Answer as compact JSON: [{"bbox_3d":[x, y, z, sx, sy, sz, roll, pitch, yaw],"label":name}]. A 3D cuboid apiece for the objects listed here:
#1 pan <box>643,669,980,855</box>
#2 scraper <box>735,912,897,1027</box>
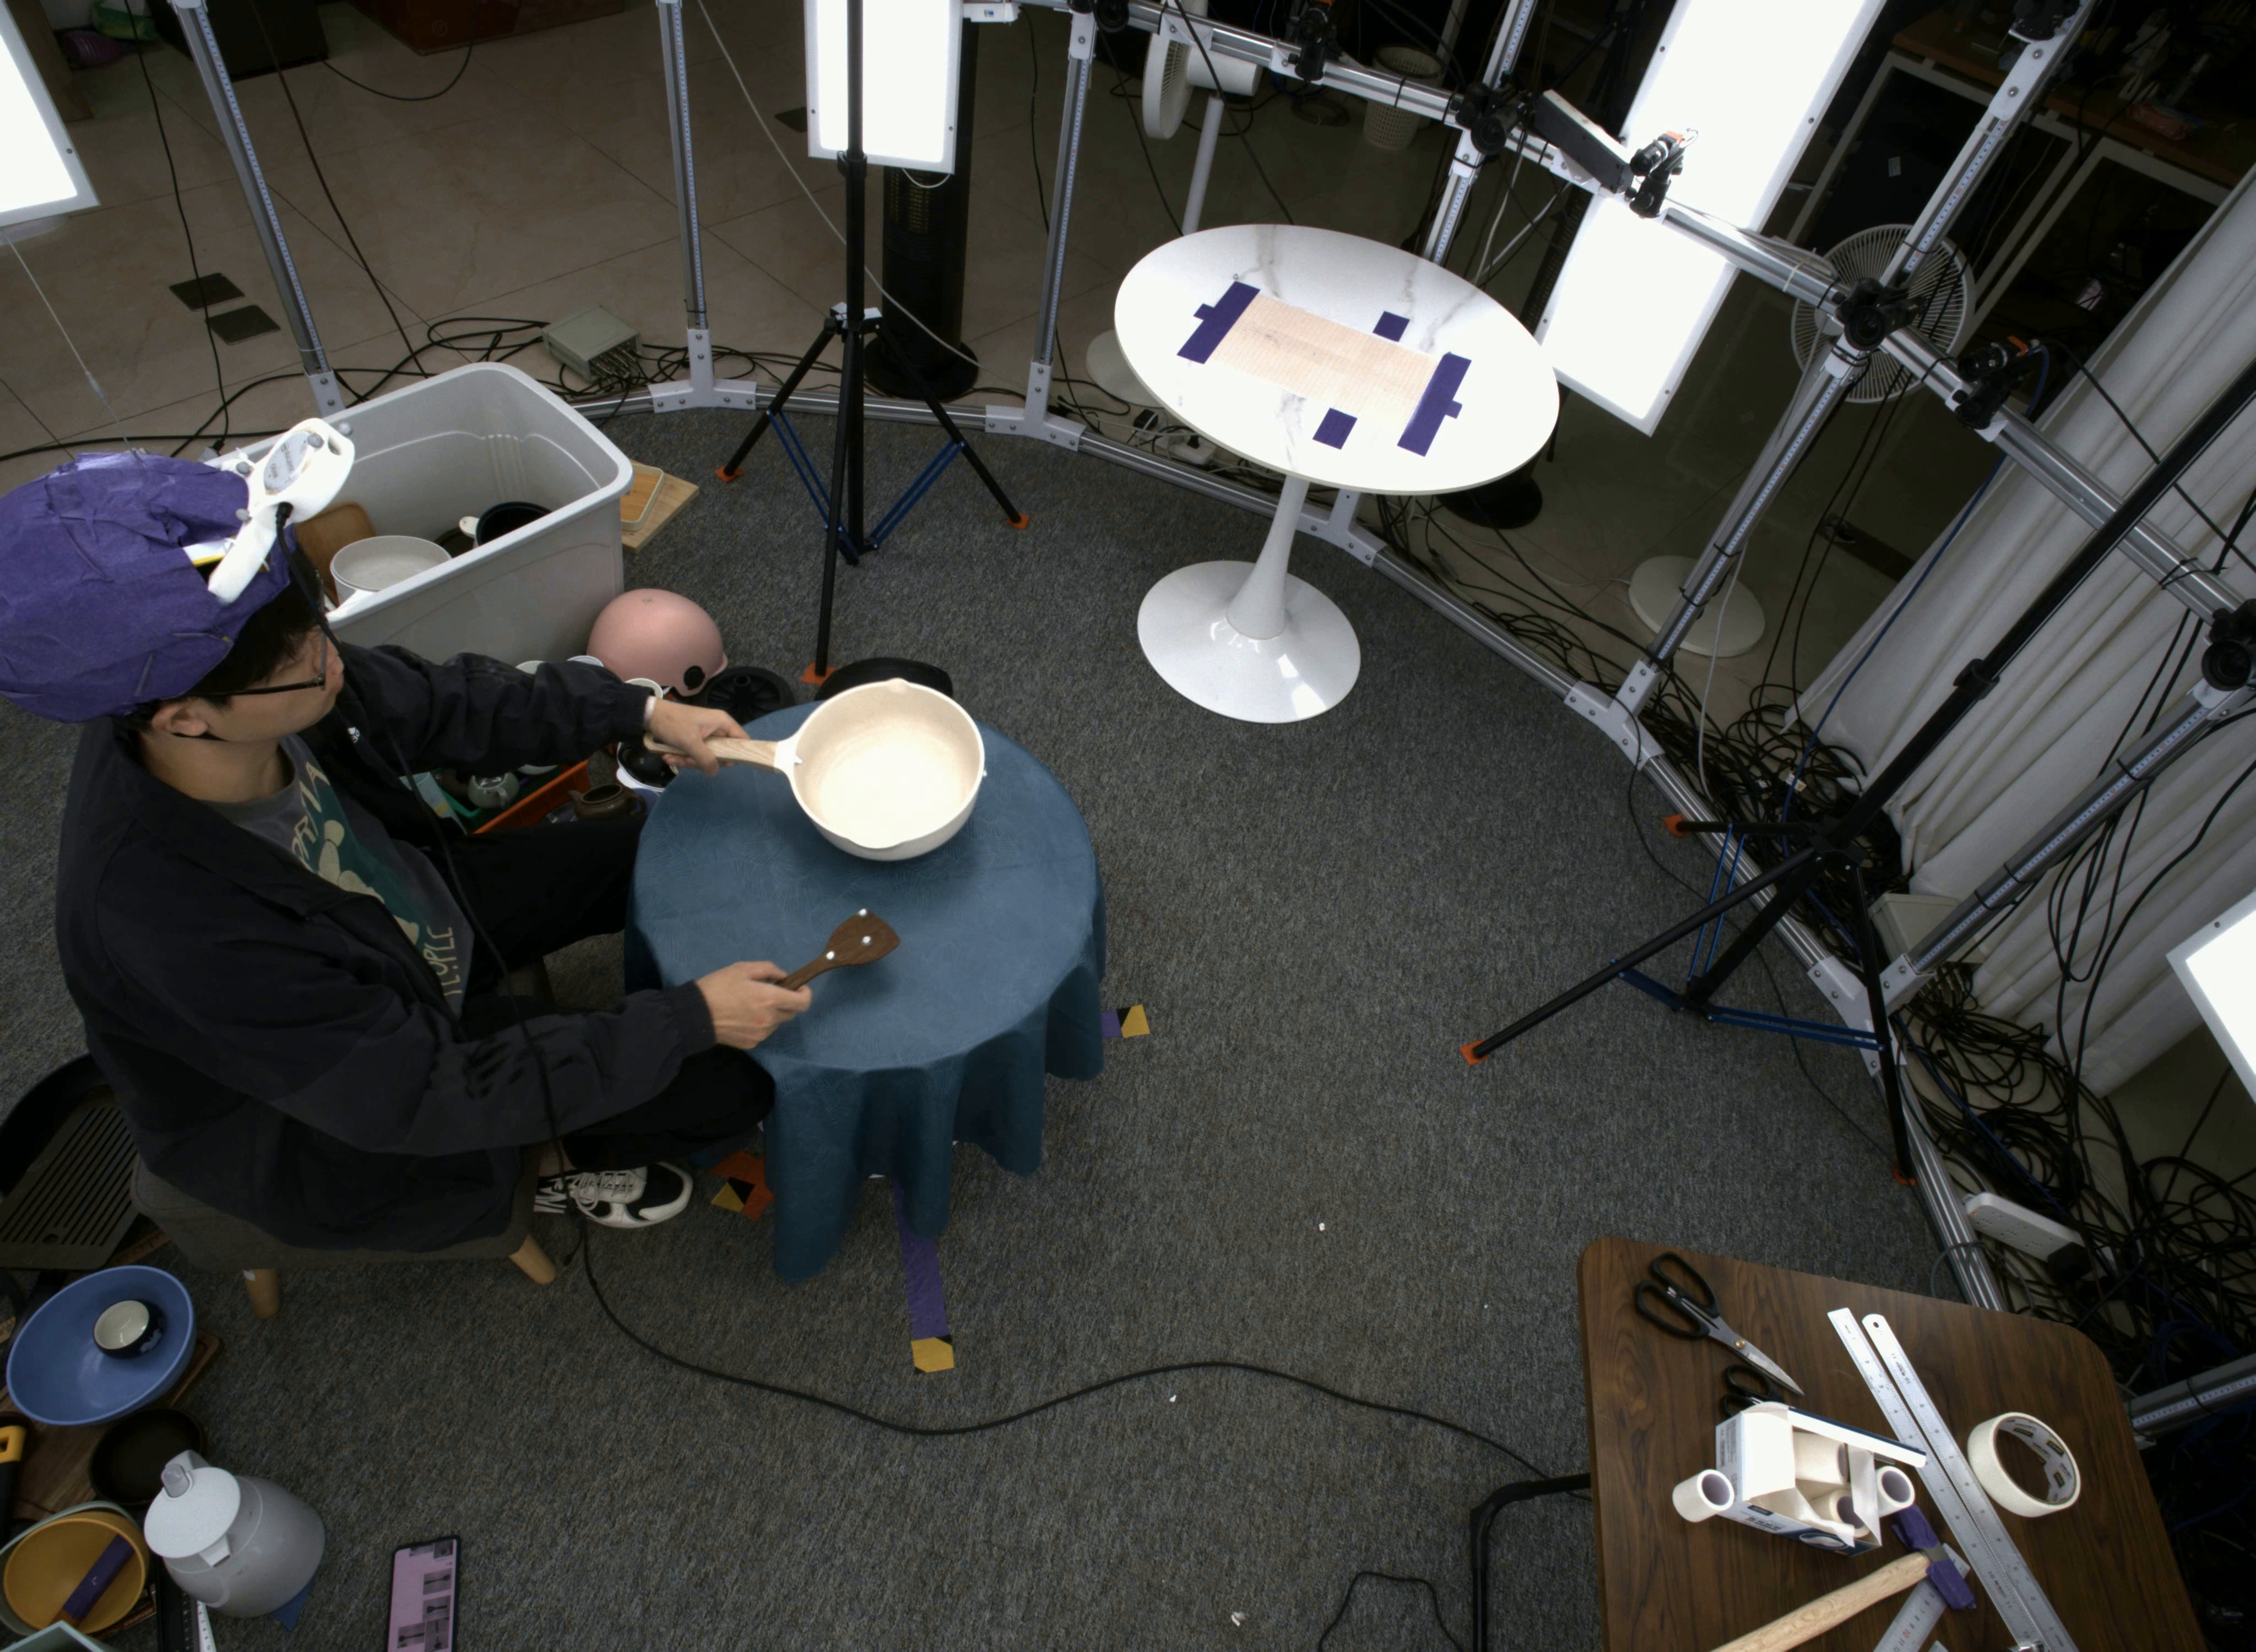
[{"bbox_3d":[-0.407,-0.081,1.697,0.431,0.104,0.260,1,62,-4],"label":"pan"},{"bbox_3d":[-0.373,0.172,1.537,0.074,0.011,0.212,39,51,23],"label":"scraper"}]
